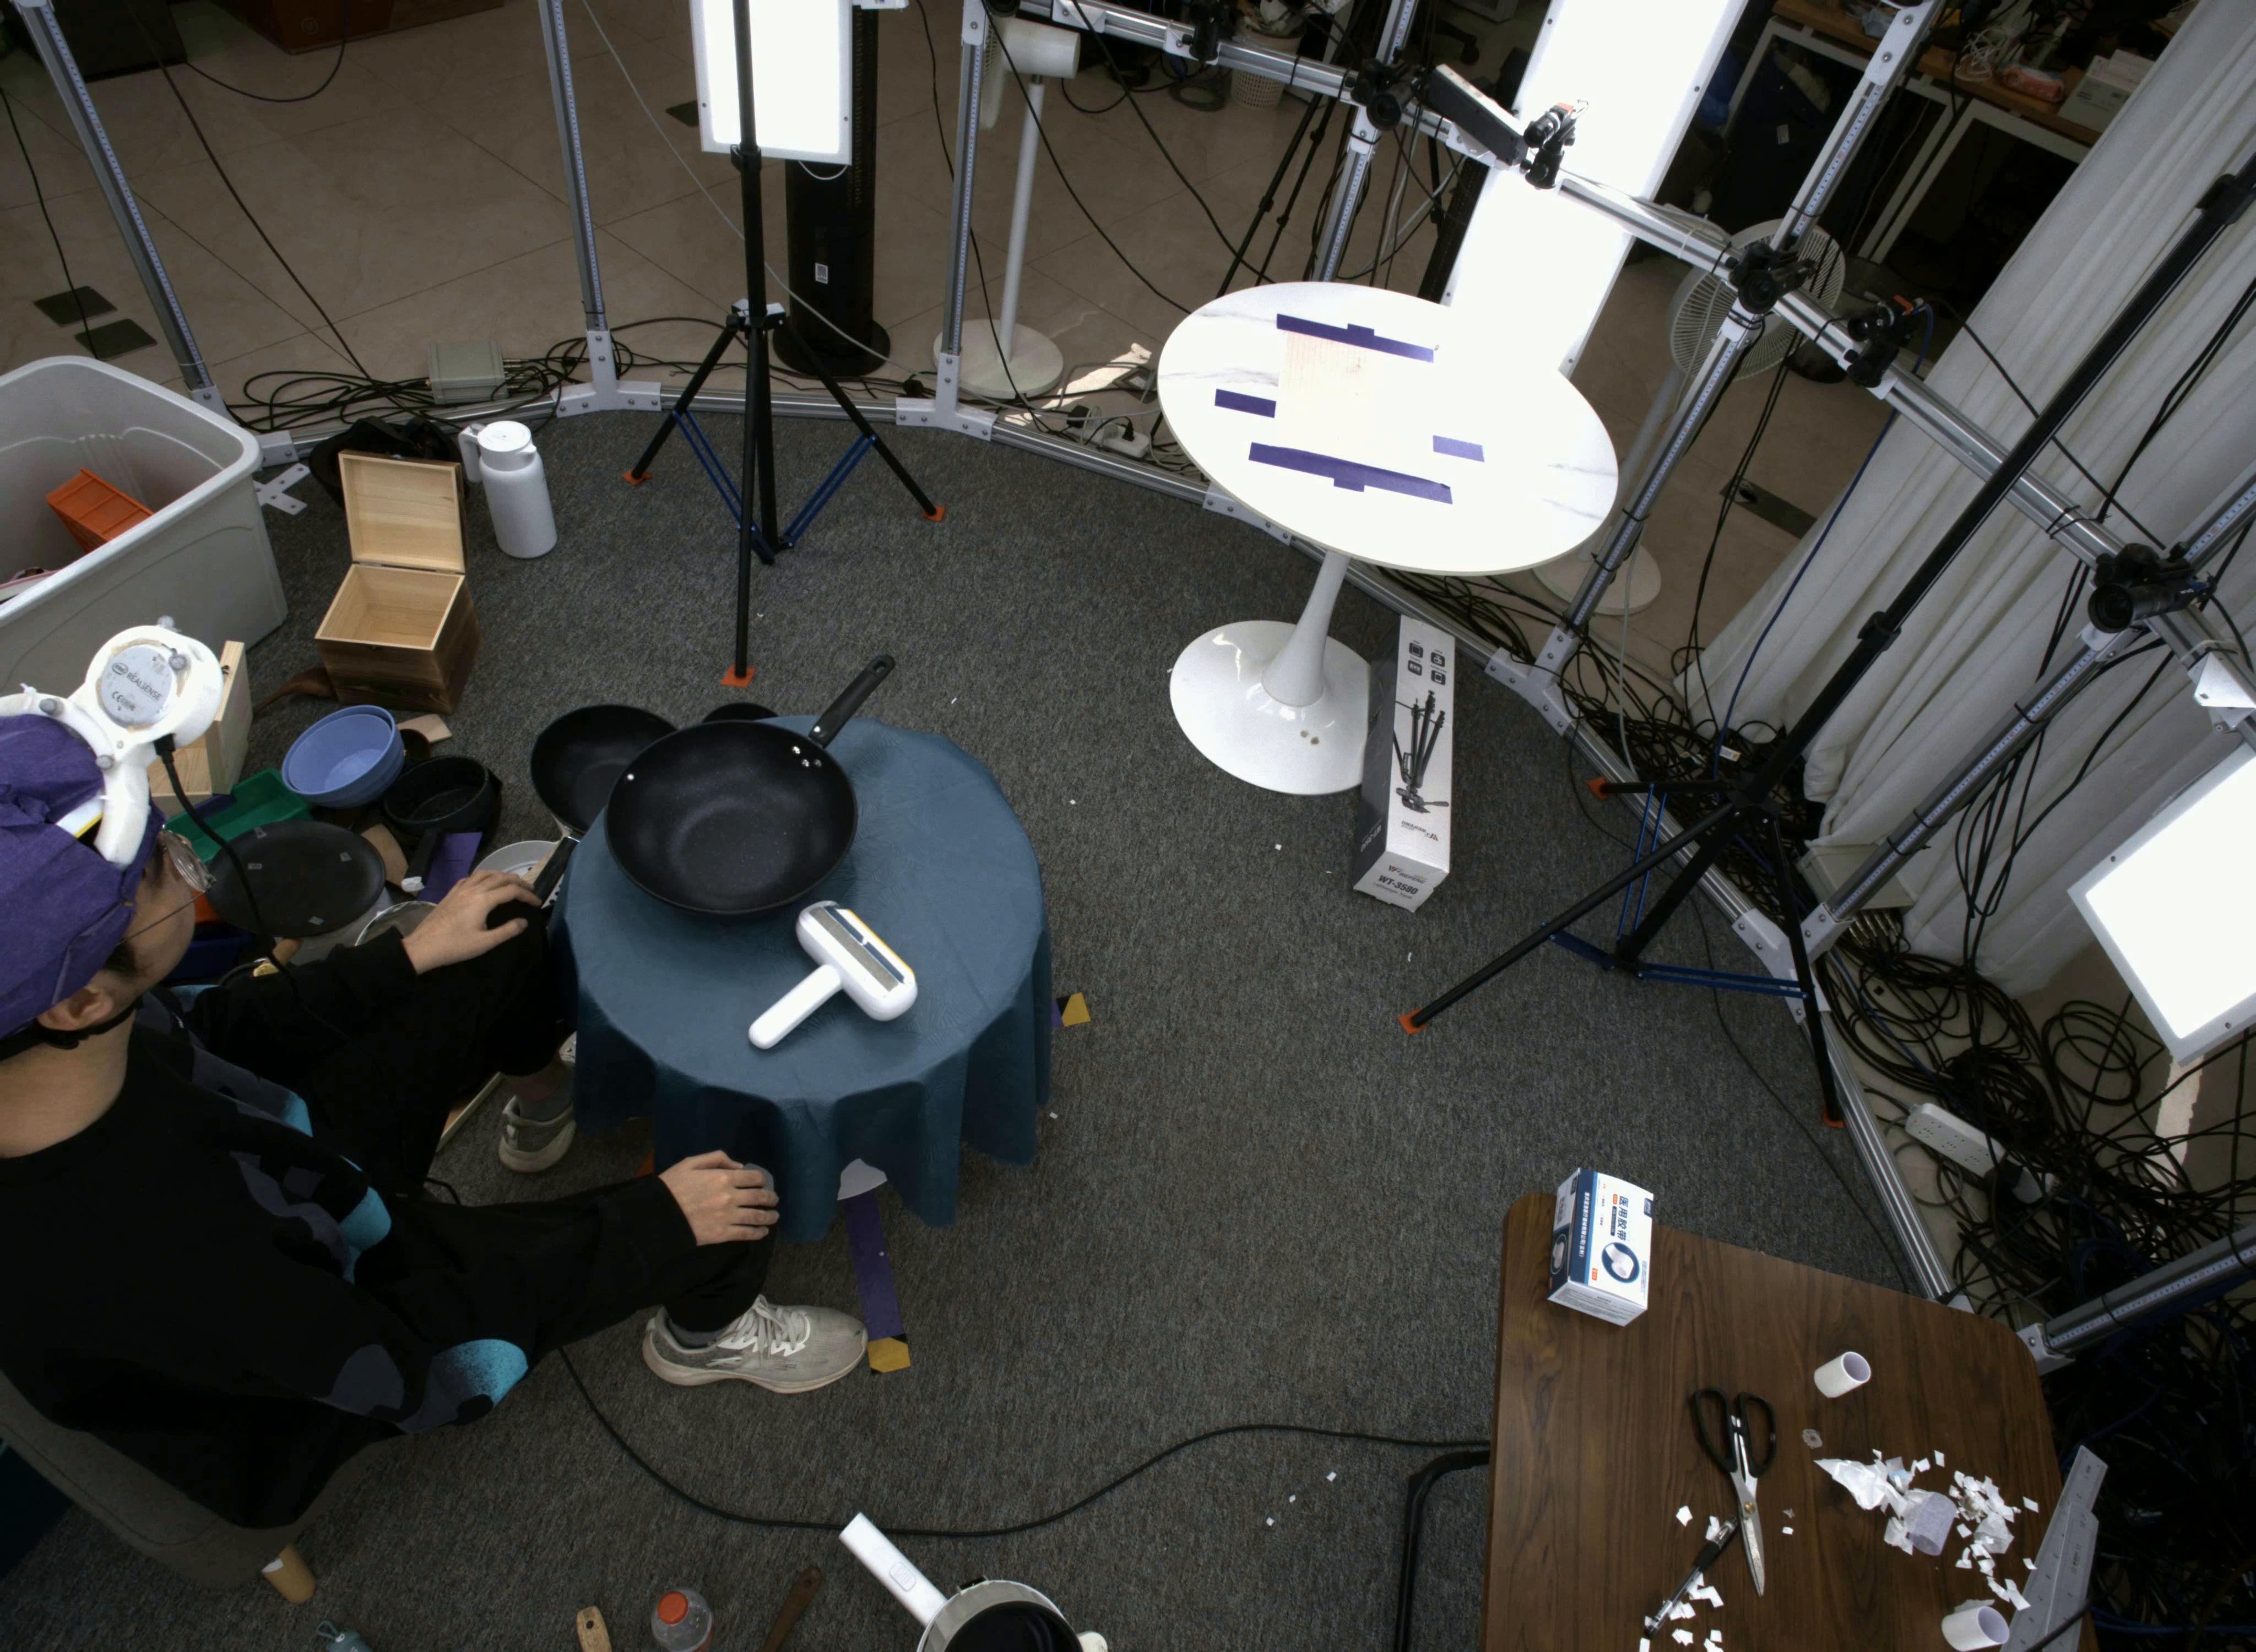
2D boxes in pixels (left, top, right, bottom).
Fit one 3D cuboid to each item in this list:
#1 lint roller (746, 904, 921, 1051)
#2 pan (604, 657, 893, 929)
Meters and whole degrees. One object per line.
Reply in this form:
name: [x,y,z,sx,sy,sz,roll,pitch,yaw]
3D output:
lint roller: [-0.371,0.196,1.556,0.193,0.076,0.187,-30,61,-29]
pan: [-0.462,-0.048,1.687,0.306,0.113,0.475,32,53,8]
